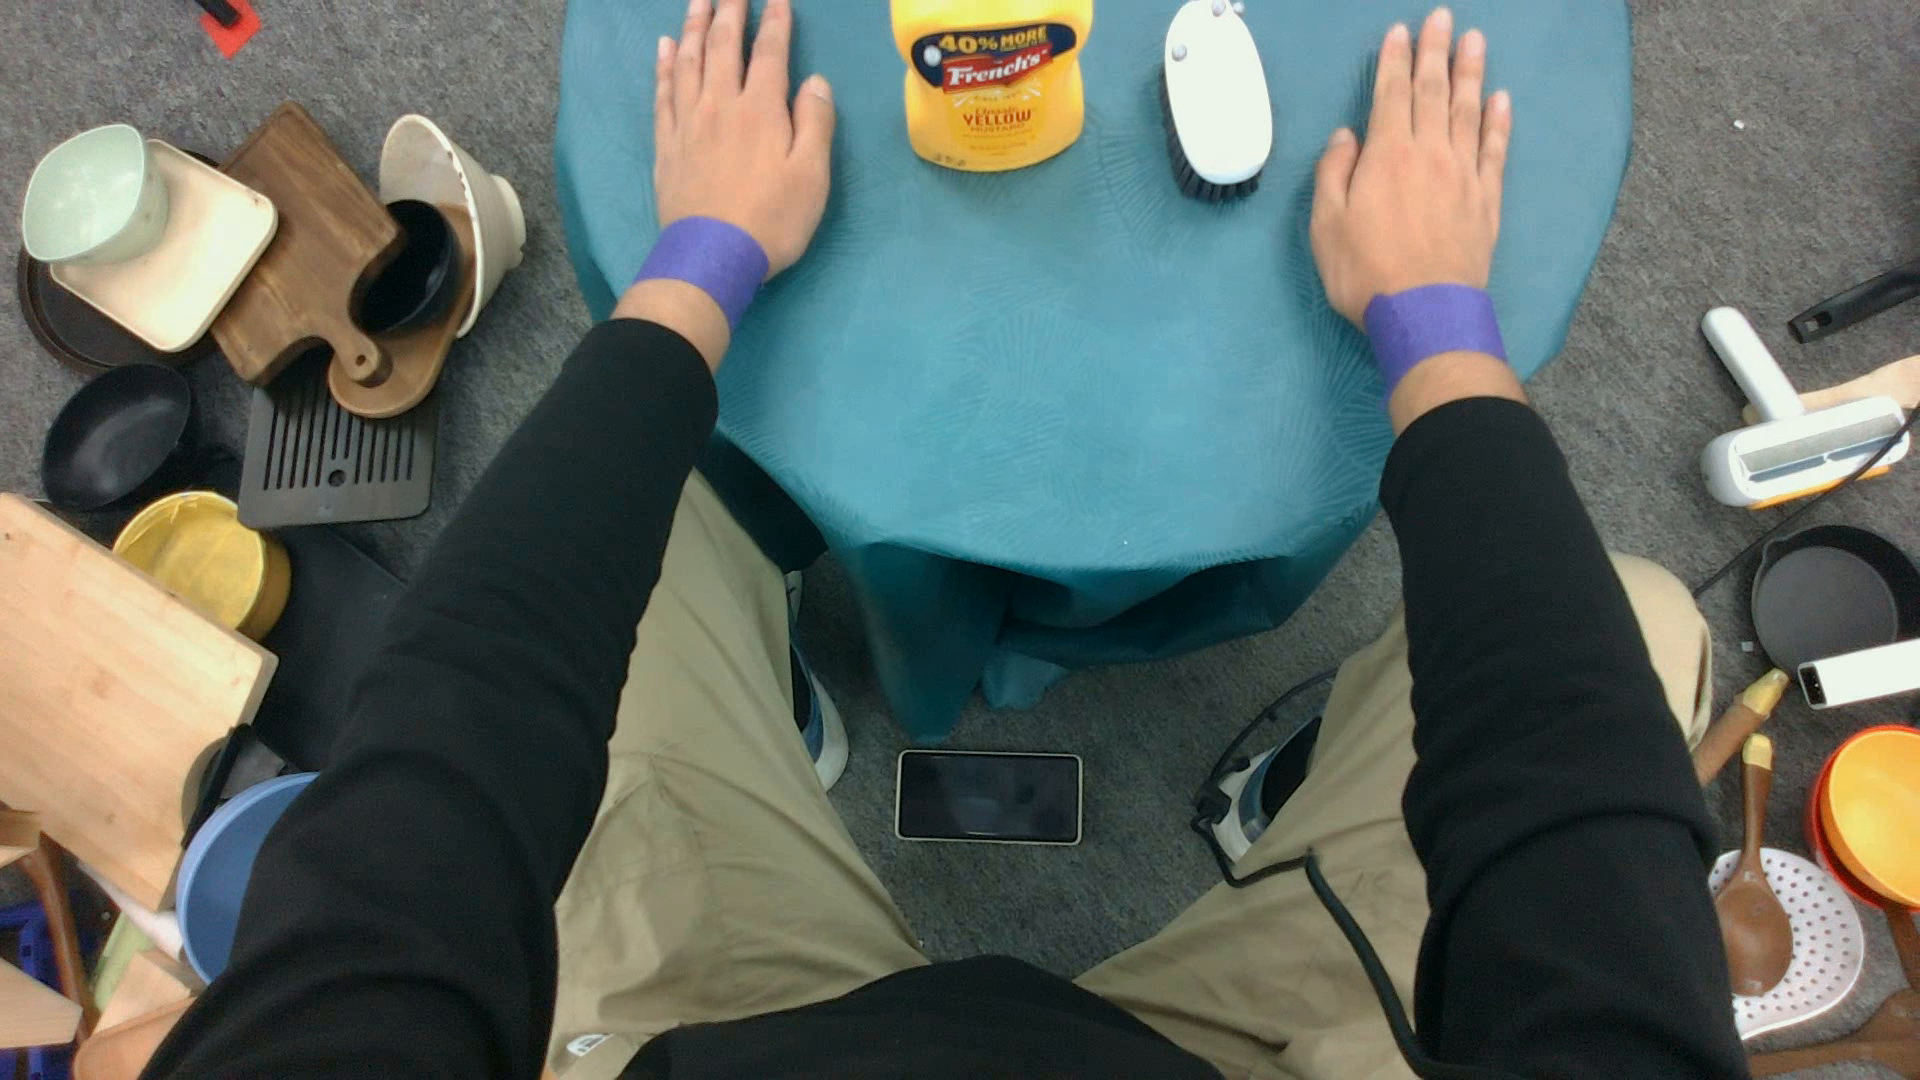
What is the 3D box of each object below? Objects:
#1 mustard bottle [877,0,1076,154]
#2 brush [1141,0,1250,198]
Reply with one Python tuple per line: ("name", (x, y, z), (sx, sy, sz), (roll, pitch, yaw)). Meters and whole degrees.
("mustard bottle", (0.009, -0.253, 0.687), (0.098, 0.171, 0.059), (-10, 83, -1))
("brush", (0.127, -0.241, 0.729), (0.050, 0.072, 0.099), (-8, 78, 1))
